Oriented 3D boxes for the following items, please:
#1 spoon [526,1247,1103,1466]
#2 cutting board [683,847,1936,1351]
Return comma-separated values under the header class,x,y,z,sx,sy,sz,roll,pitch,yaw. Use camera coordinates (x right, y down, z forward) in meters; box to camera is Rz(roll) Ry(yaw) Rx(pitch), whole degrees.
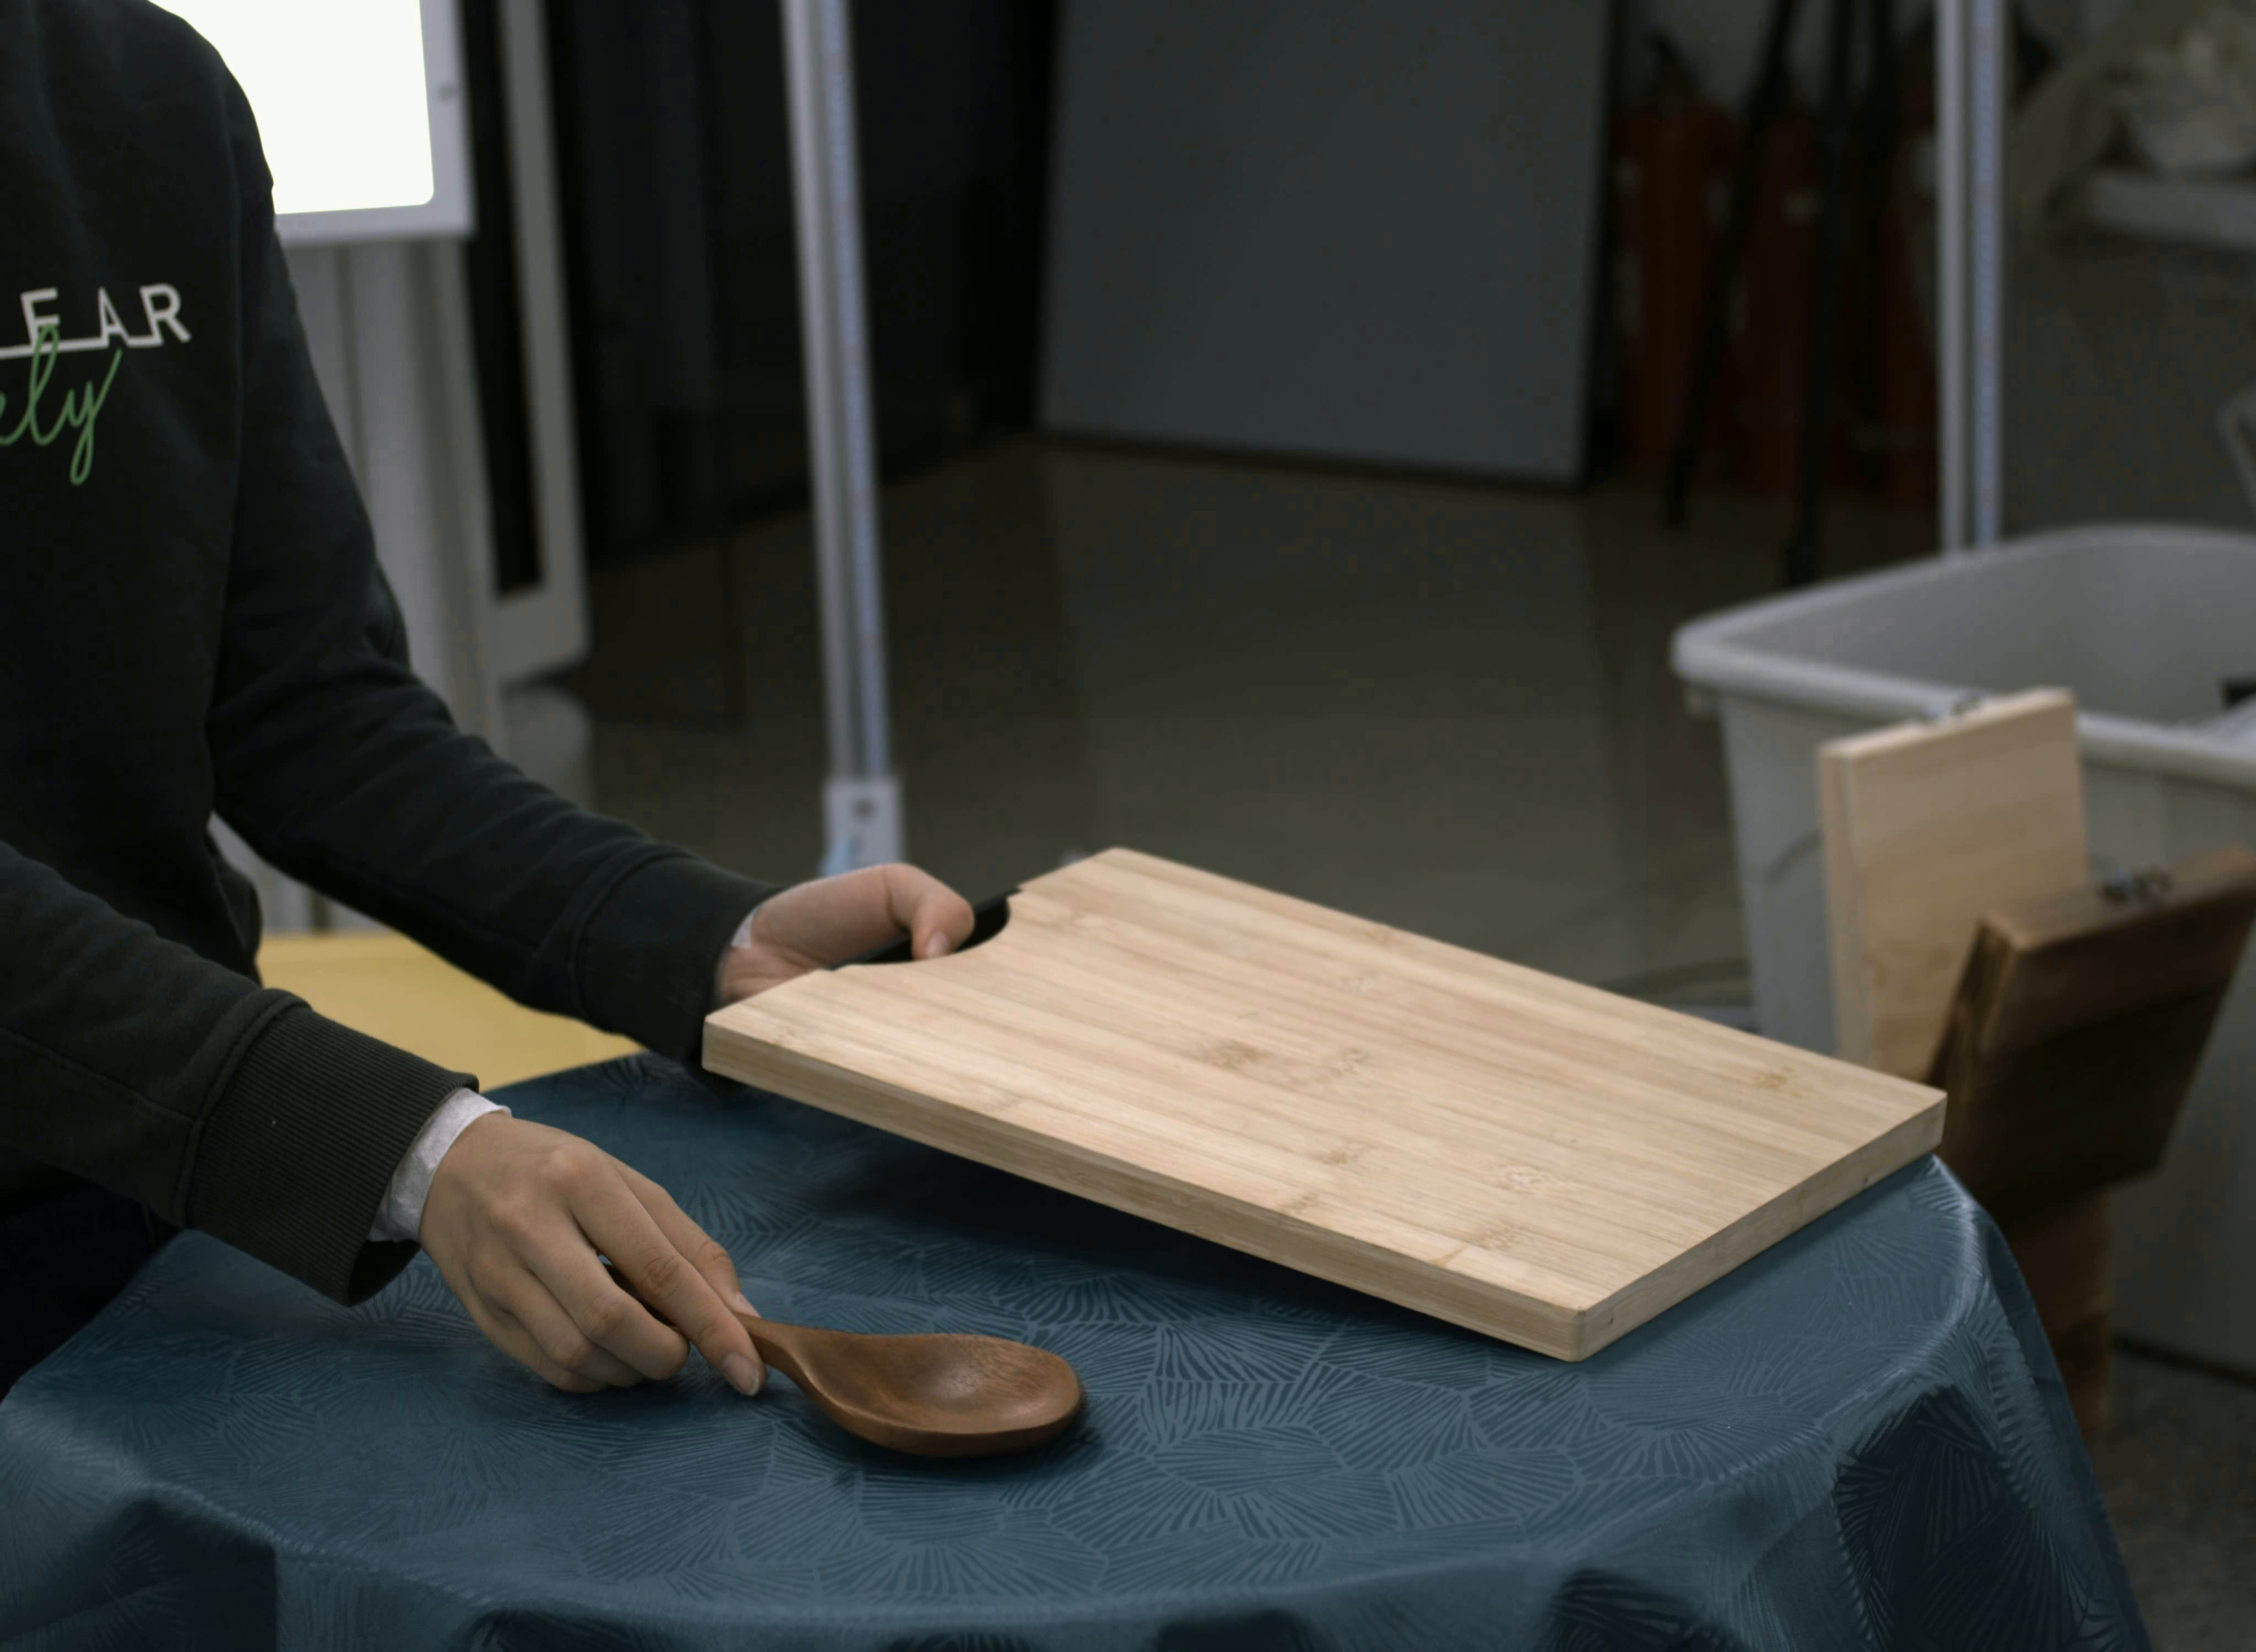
class,x,y,z,sx,sy,sz,roll,pitch,yaw
spoon,-0.098,0.156,1.600,0.217,0.017,0.074,13,23,38
cutting board,0.059,0.083,1.770,0.351,0.024,0.246,15,22,32
